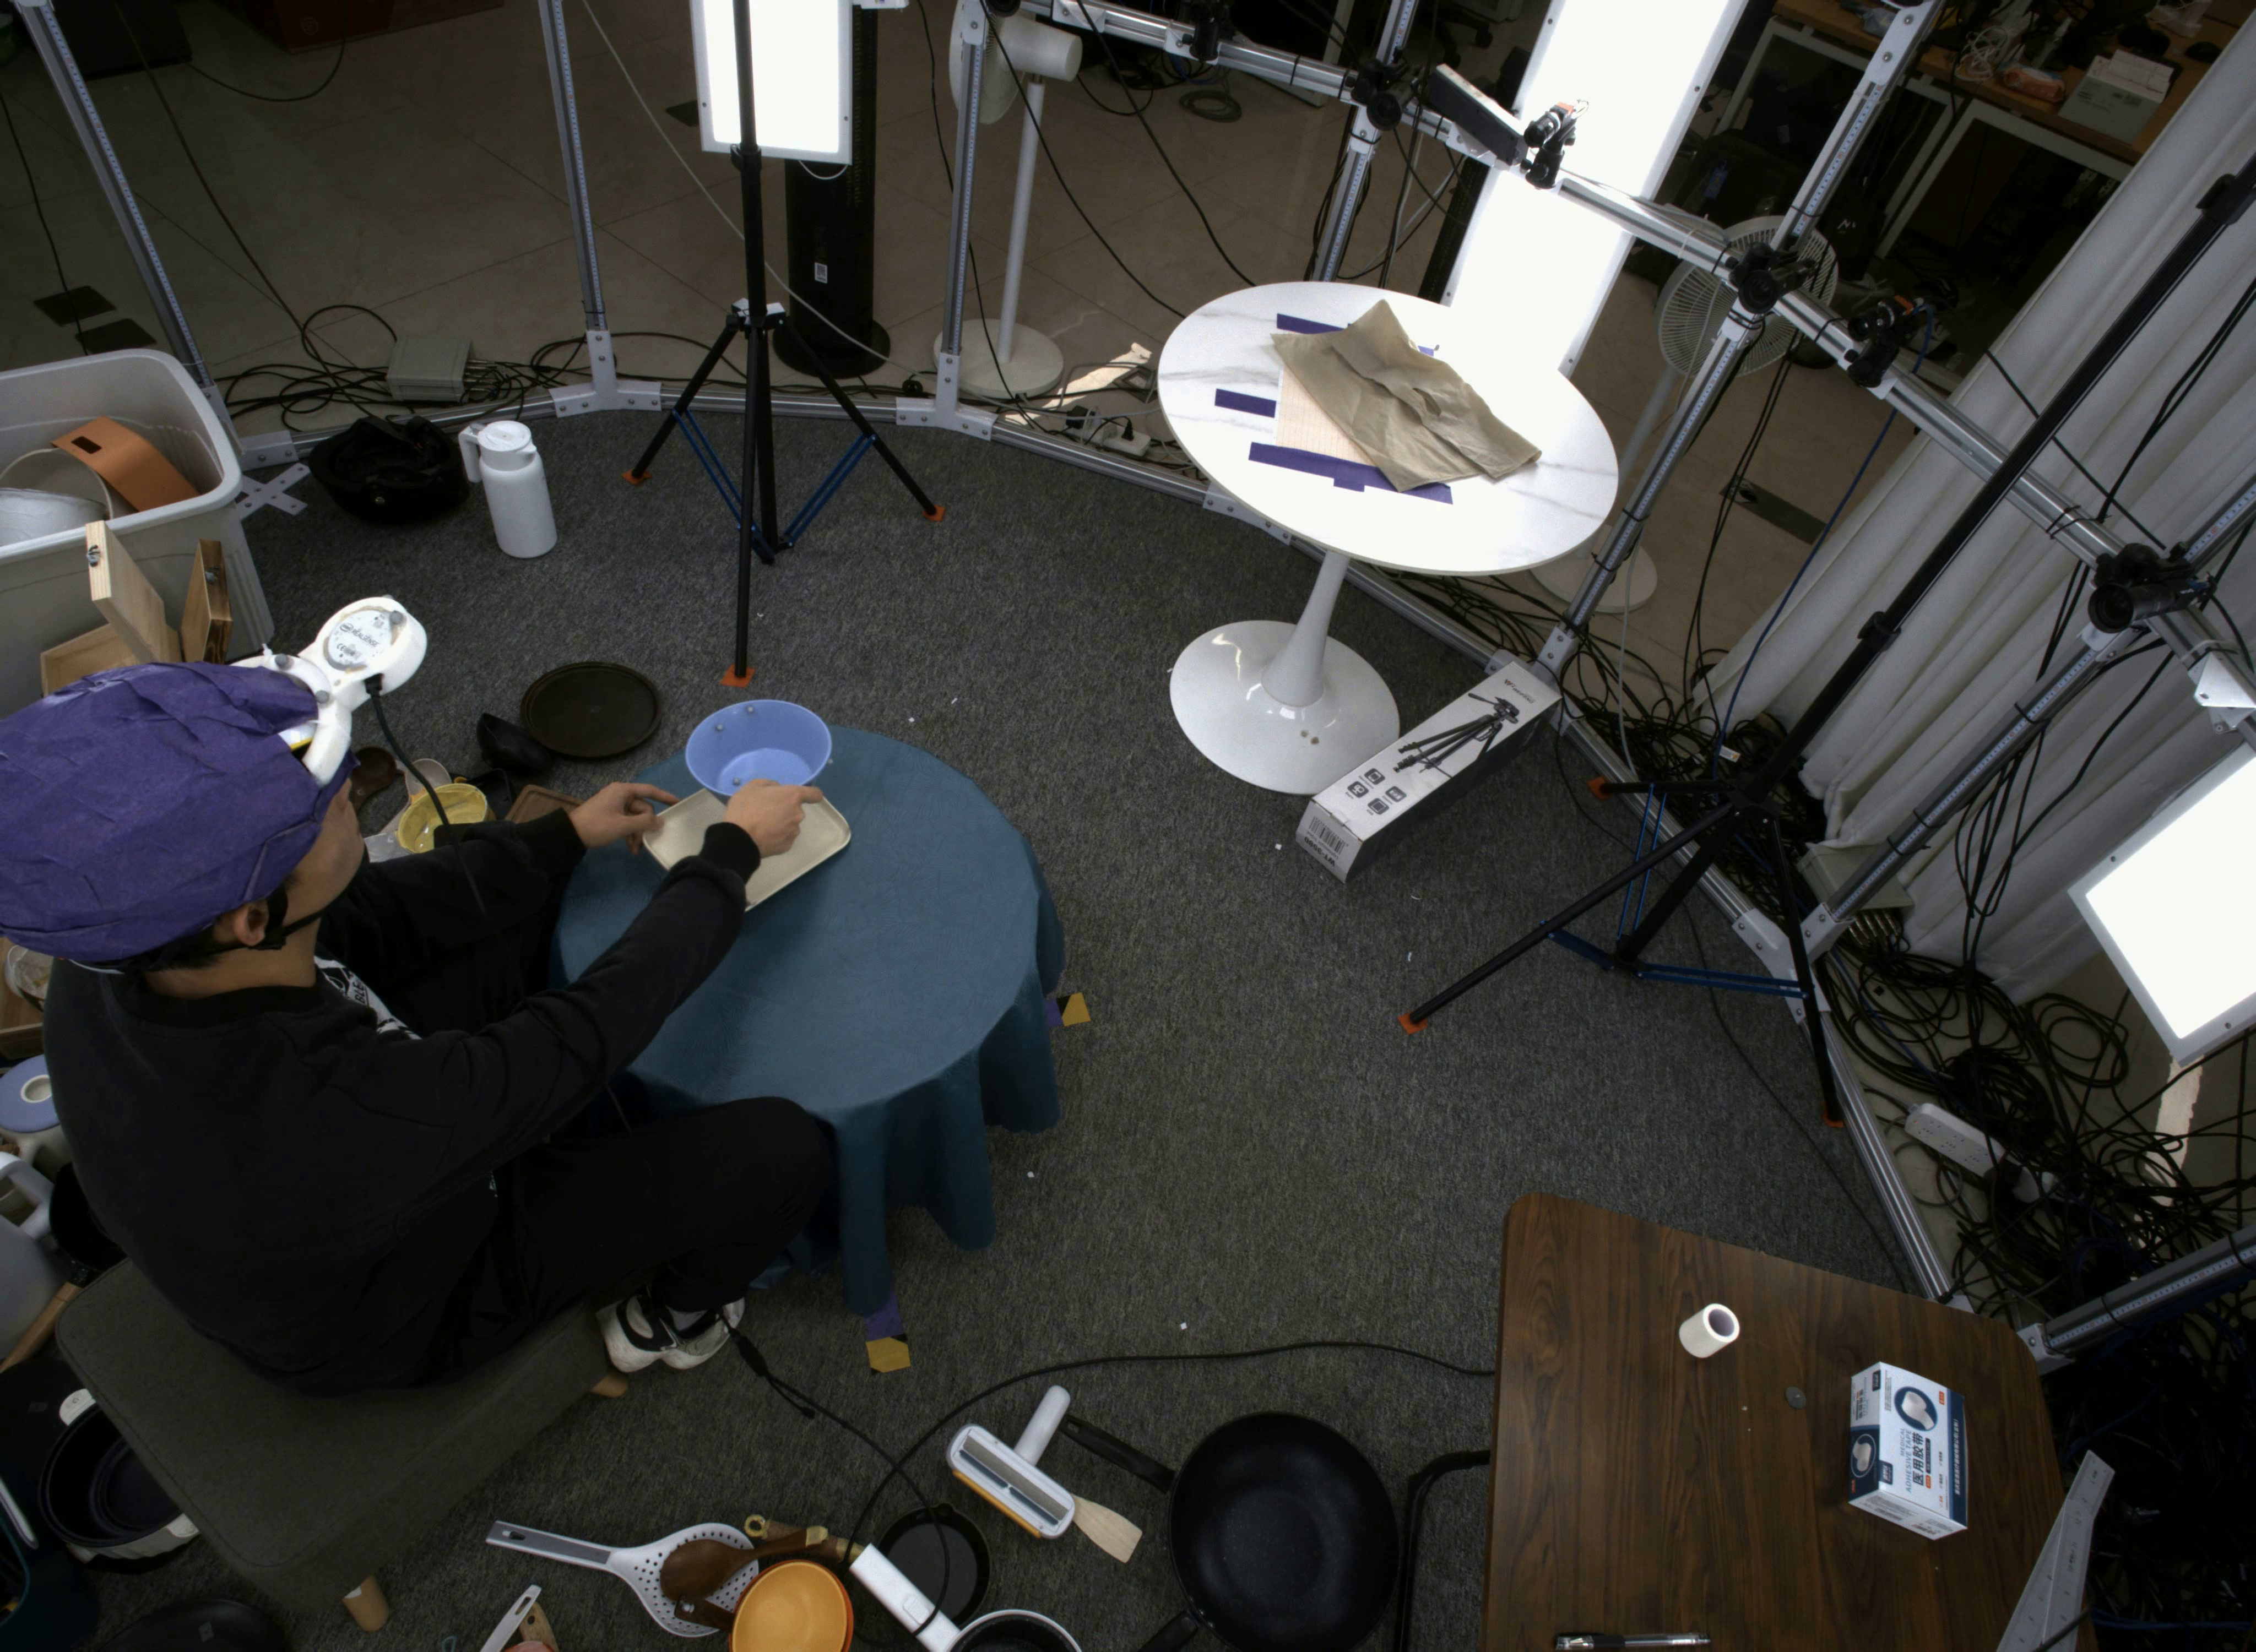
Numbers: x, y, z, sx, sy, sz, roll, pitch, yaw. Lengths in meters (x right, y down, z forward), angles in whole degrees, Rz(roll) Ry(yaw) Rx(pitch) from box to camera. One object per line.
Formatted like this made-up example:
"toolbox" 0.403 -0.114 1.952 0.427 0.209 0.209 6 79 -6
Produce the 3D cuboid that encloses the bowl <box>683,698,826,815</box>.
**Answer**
"bowl" -0.462 -0.078 1.614 0.175 0.072 0.172 5 46 -3

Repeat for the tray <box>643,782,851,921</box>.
"tray" -0.486 0.012 1.660 0.170 0.017 0.240 45 48 6
